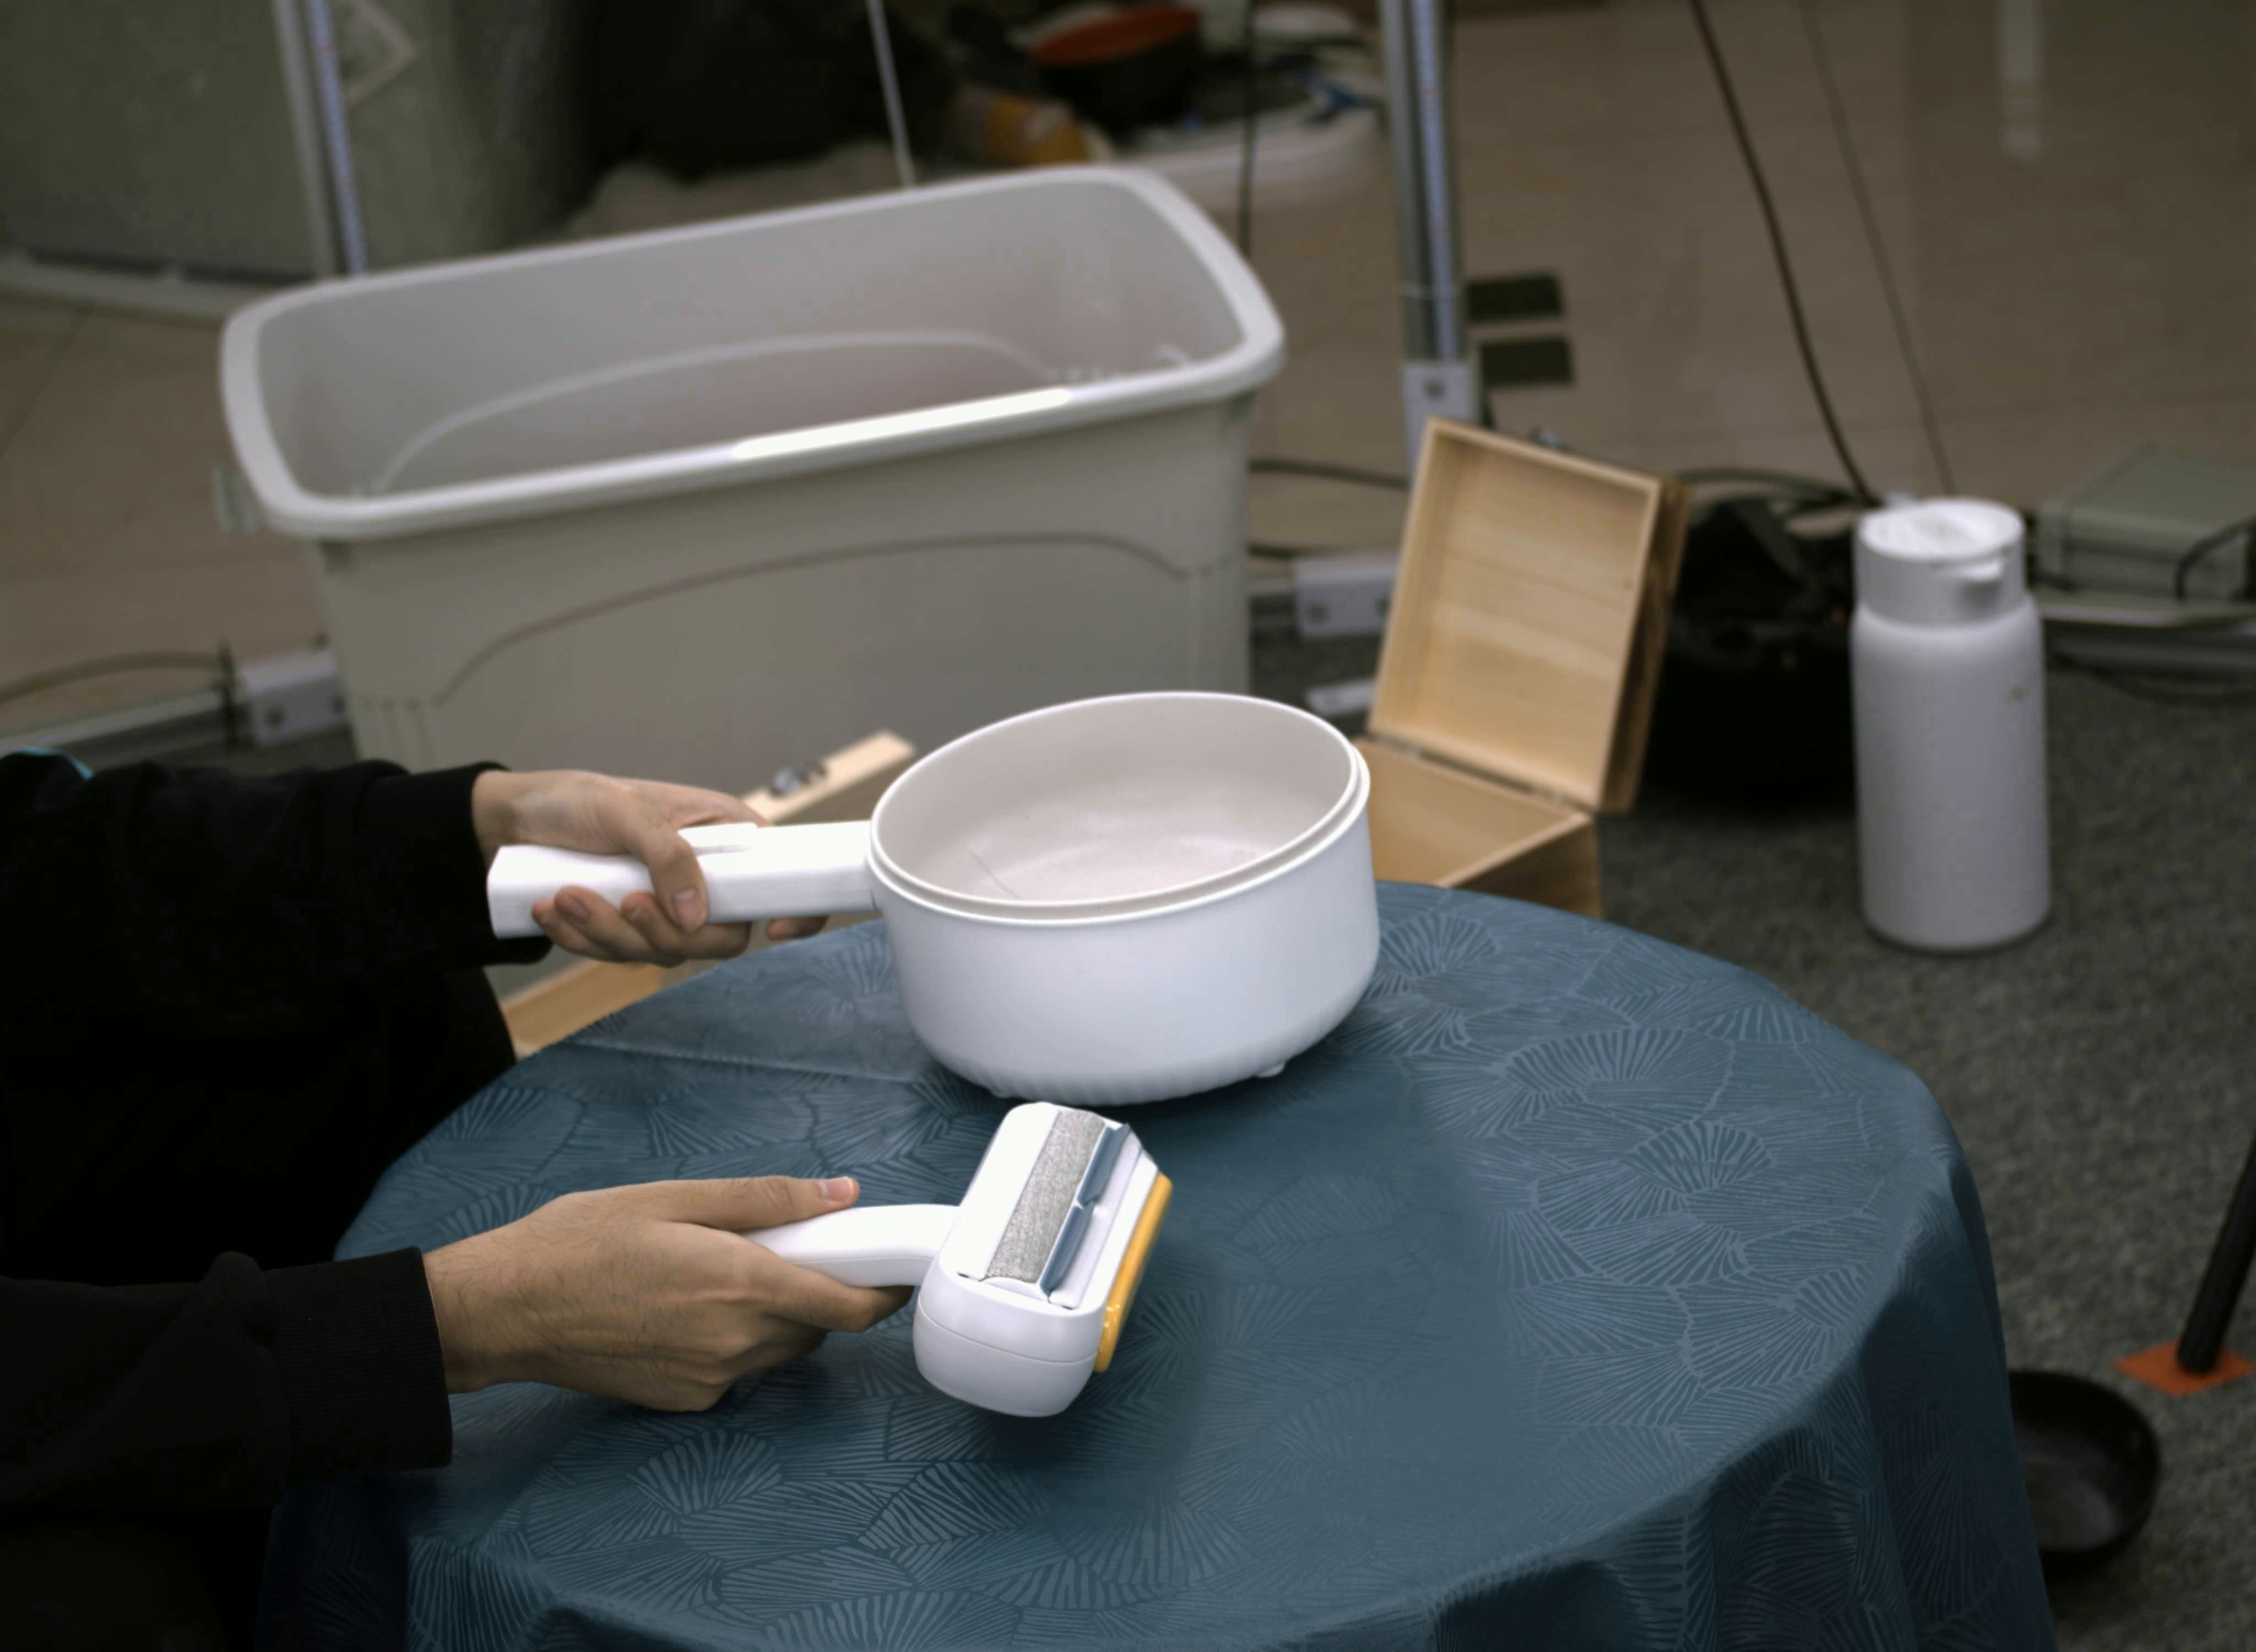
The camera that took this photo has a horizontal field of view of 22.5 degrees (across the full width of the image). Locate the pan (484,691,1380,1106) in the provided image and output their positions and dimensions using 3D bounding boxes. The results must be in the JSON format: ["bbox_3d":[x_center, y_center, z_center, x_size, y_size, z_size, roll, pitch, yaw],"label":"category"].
[{"bbox_3d":[-0.075,0.040,2.255,0.354,0.104,0.198,-6,25,8],"label":"pan"}]

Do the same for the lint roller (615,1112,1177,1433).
[{"bbox_3d":[-0.090,0.153,2.031,0.192,0.075,0.190,10,24,10],"label":"lint roller"}]
